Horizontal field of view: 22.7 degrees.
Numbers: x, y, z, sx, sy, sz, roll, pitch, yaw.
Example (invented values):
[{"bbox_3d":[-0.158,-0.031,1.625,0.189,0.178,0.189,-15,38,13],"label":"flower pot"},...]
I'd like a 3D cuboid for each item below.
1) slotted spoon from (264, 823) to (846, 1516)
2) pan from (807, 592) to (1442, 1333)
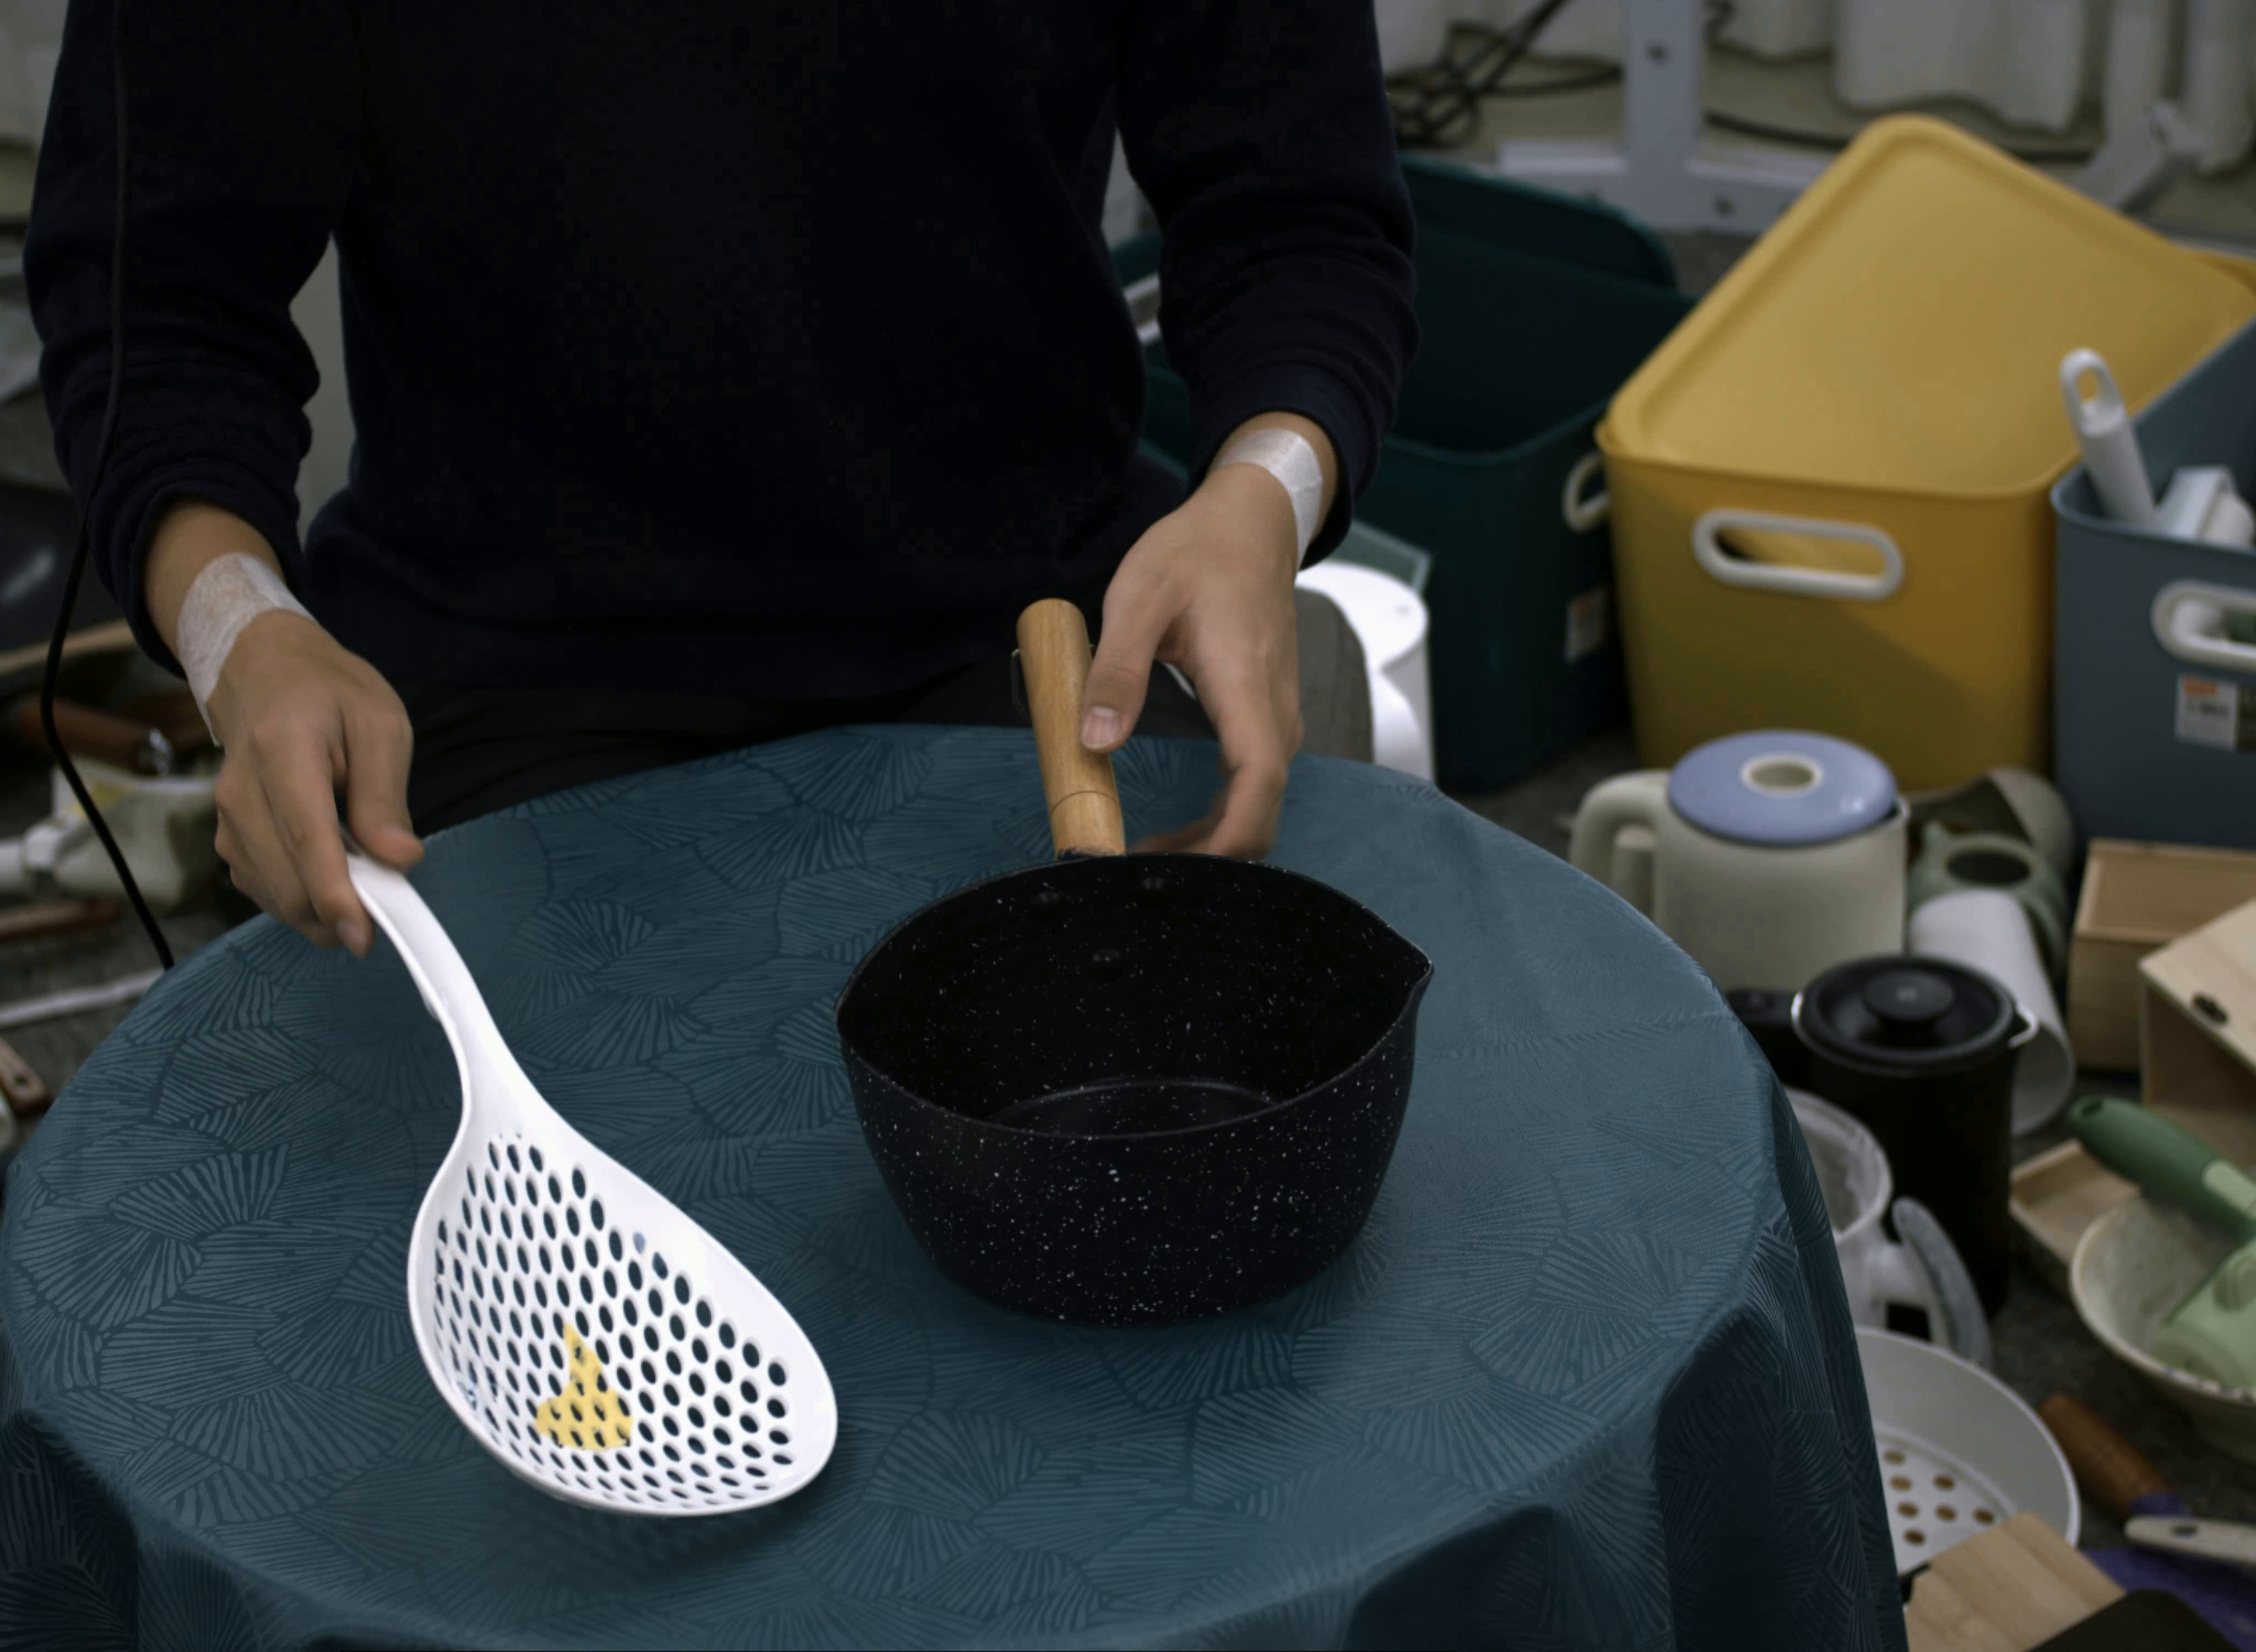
[{"bbox_3d":[-0.203,0.101,1.791,0.137,0.049,0.352,2,41,-34],"label":"slotted spoon"},{"bbox_3d":[-0.009,0.042,1.900,0.207,0.107,0.347,-7,29,-5],"label":"pan"}]
